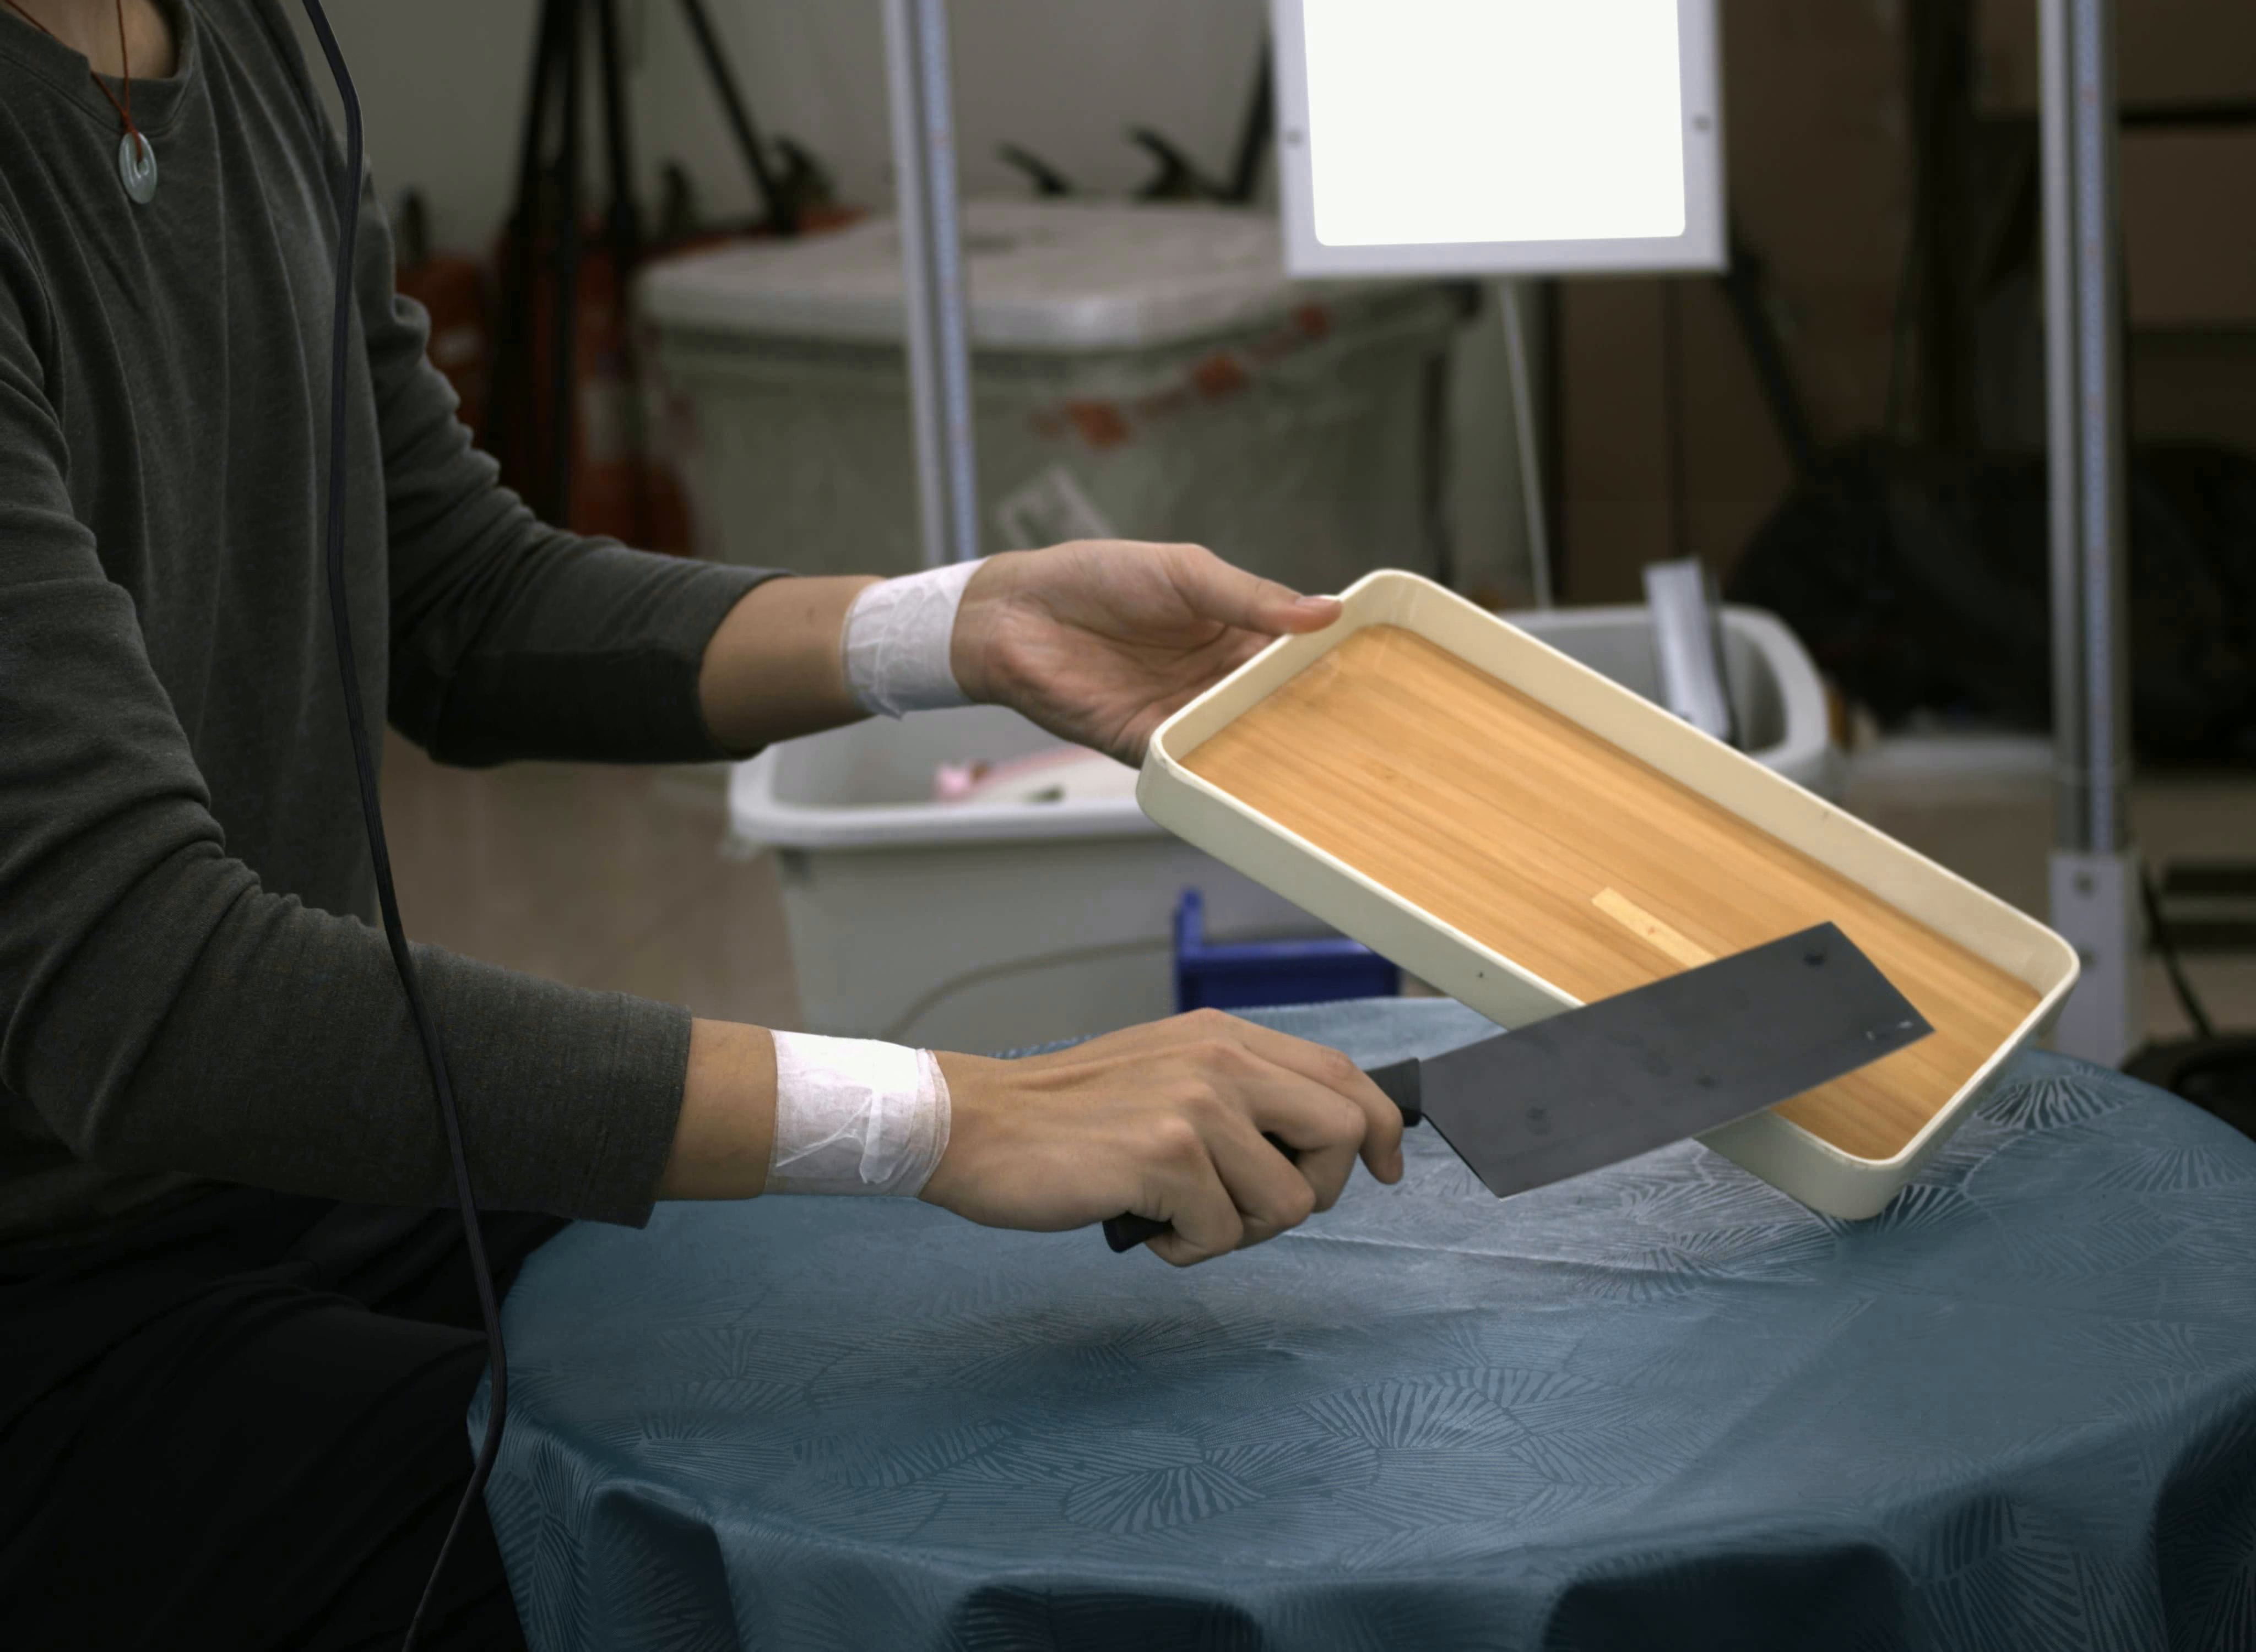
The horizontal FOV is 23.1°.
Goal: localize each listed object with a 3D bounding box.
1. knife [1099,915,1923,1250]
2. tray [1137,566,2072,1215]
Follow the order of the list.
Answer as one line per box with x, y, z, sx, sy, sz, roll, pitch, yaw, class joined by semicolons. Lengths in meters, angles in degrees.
0.124;0.087;1.773;0.296;0.021;0.082;-15;44;-22;knife
0.168;0.017;1.907;0.303;0.028;0.187;30;36;19;tray
